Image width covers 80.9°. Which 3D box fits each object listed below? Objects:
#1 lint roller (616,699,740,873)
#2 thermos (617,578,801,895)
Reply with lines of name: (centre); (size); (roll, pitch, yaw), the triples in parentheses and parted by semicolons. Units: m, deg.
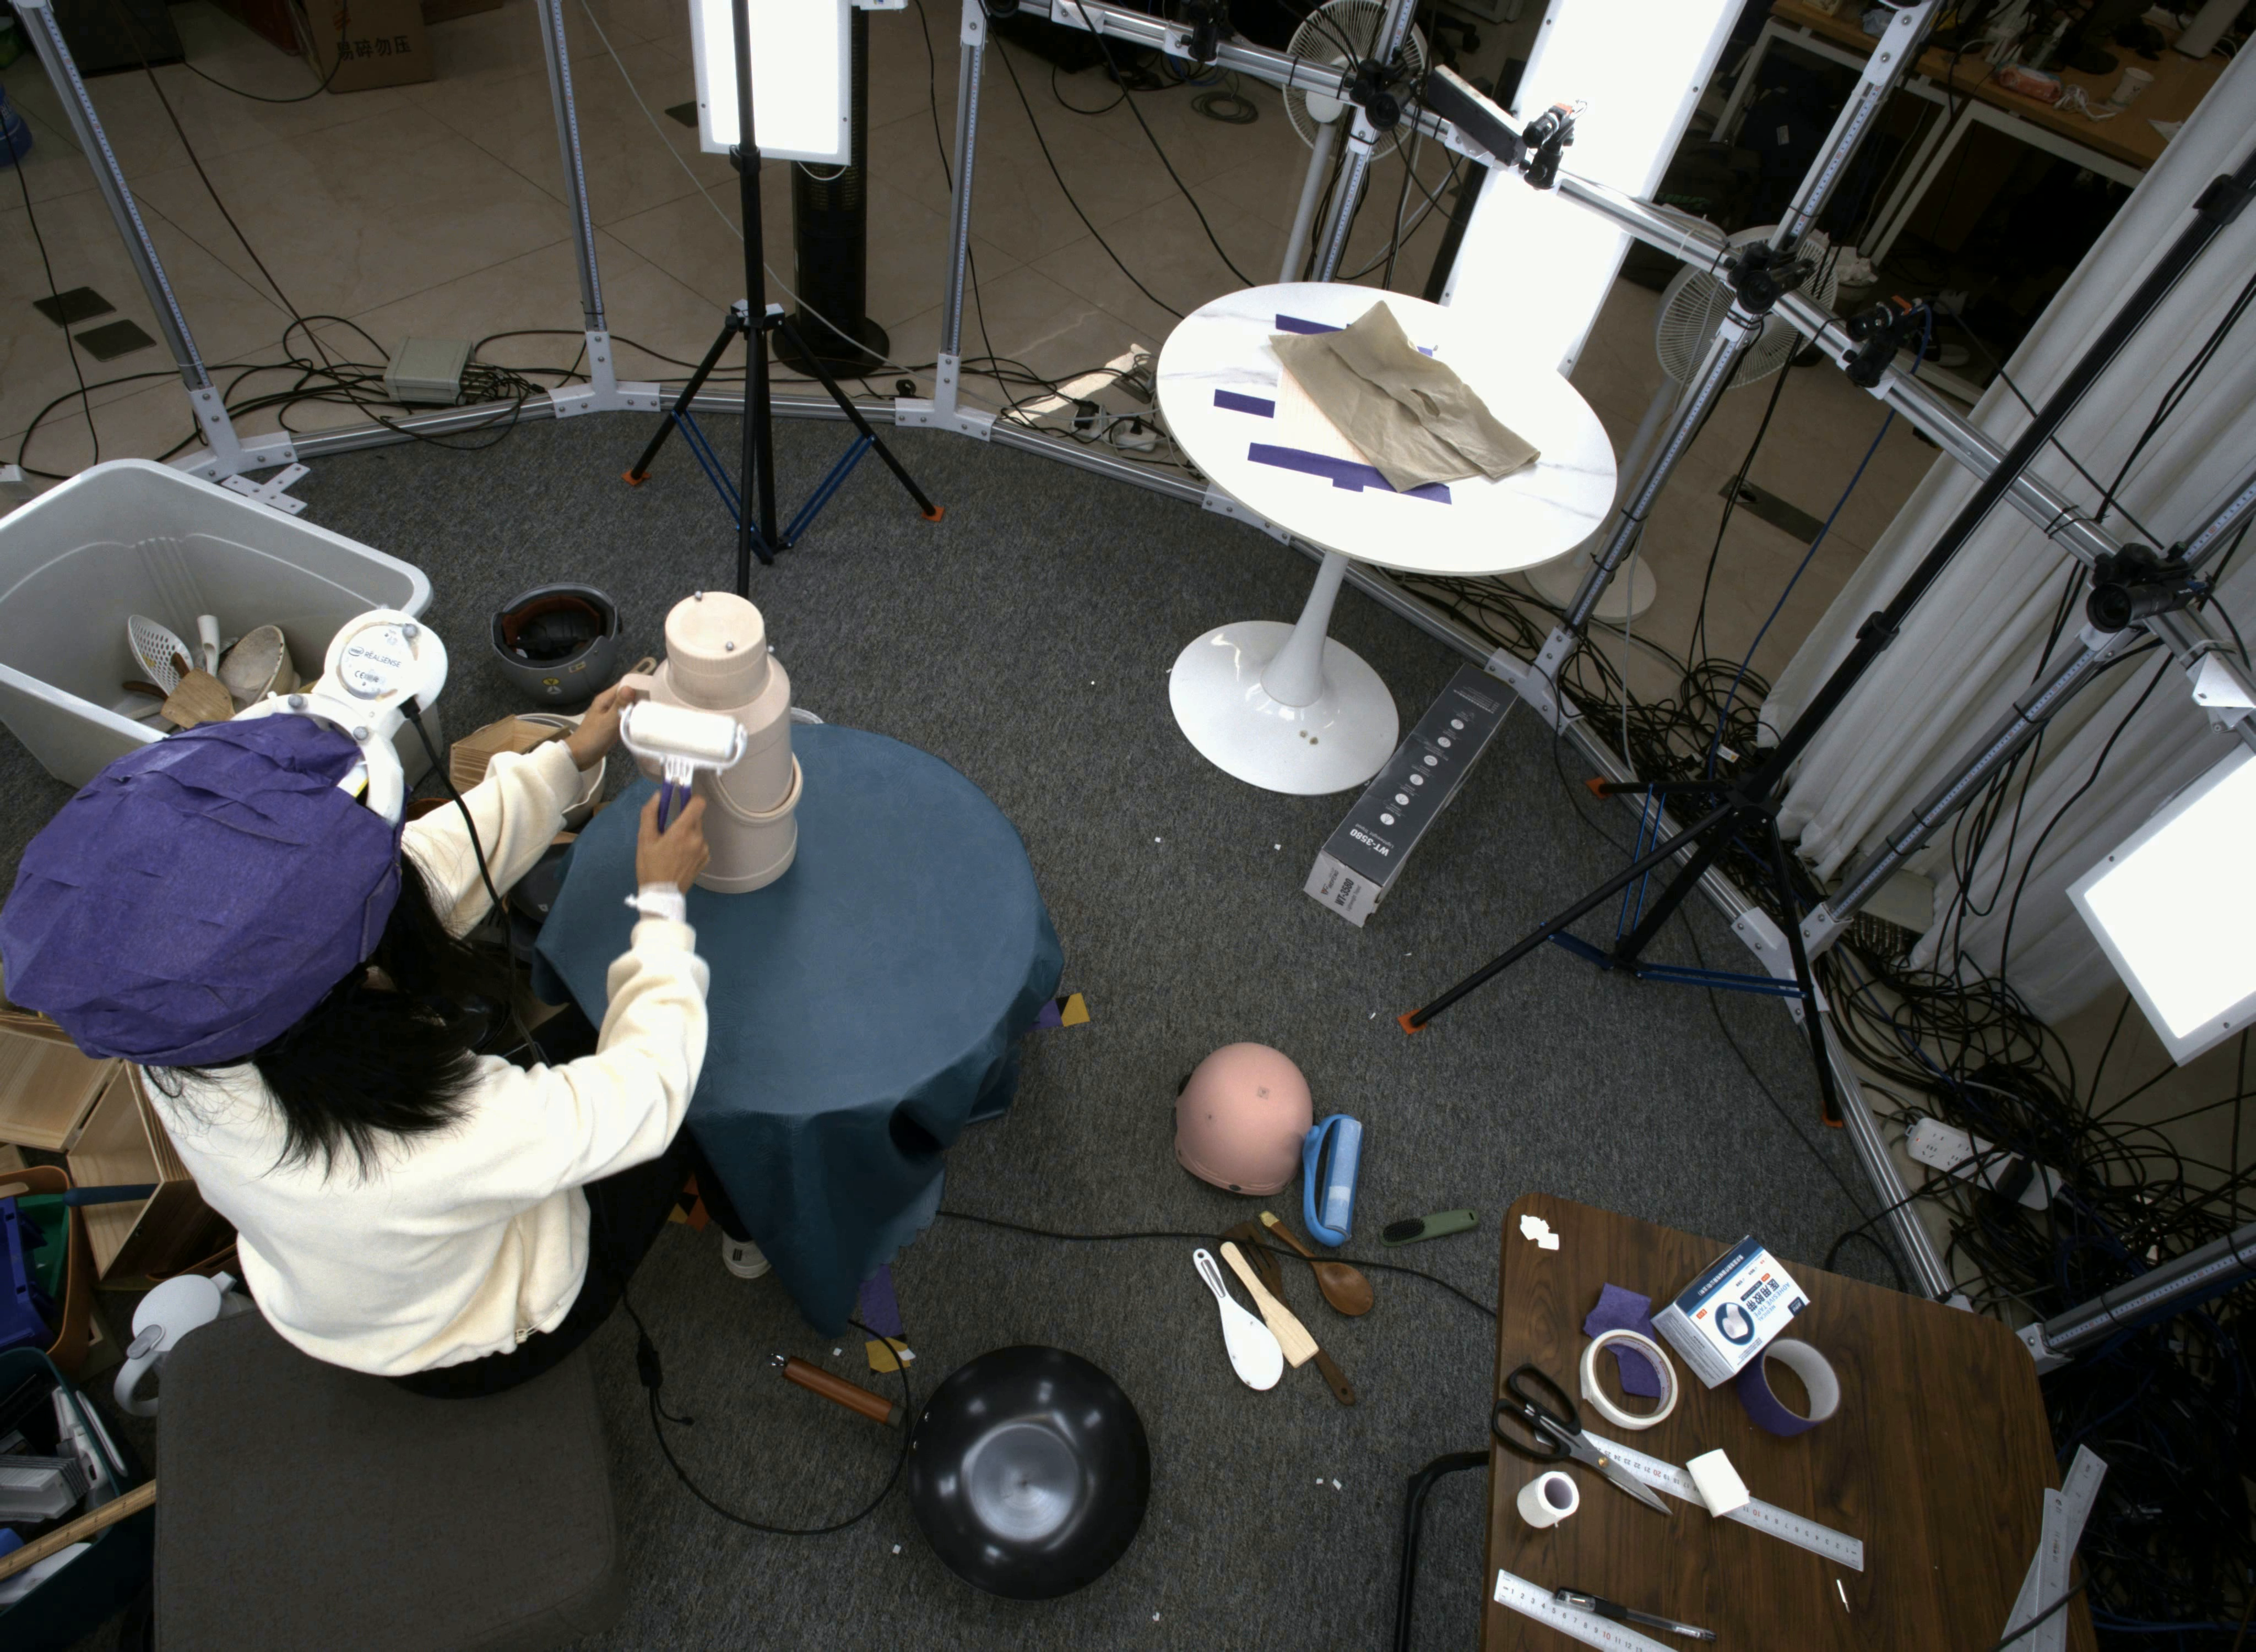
lint roller: (-0.492, -0.040, 1.369); (0.132, 0.049, 0.183); (11, 96, -8)
thermos: (-0.493, -0.104, 1.522); (0.206, 0.415, 0.172); (5, 52, -7)
